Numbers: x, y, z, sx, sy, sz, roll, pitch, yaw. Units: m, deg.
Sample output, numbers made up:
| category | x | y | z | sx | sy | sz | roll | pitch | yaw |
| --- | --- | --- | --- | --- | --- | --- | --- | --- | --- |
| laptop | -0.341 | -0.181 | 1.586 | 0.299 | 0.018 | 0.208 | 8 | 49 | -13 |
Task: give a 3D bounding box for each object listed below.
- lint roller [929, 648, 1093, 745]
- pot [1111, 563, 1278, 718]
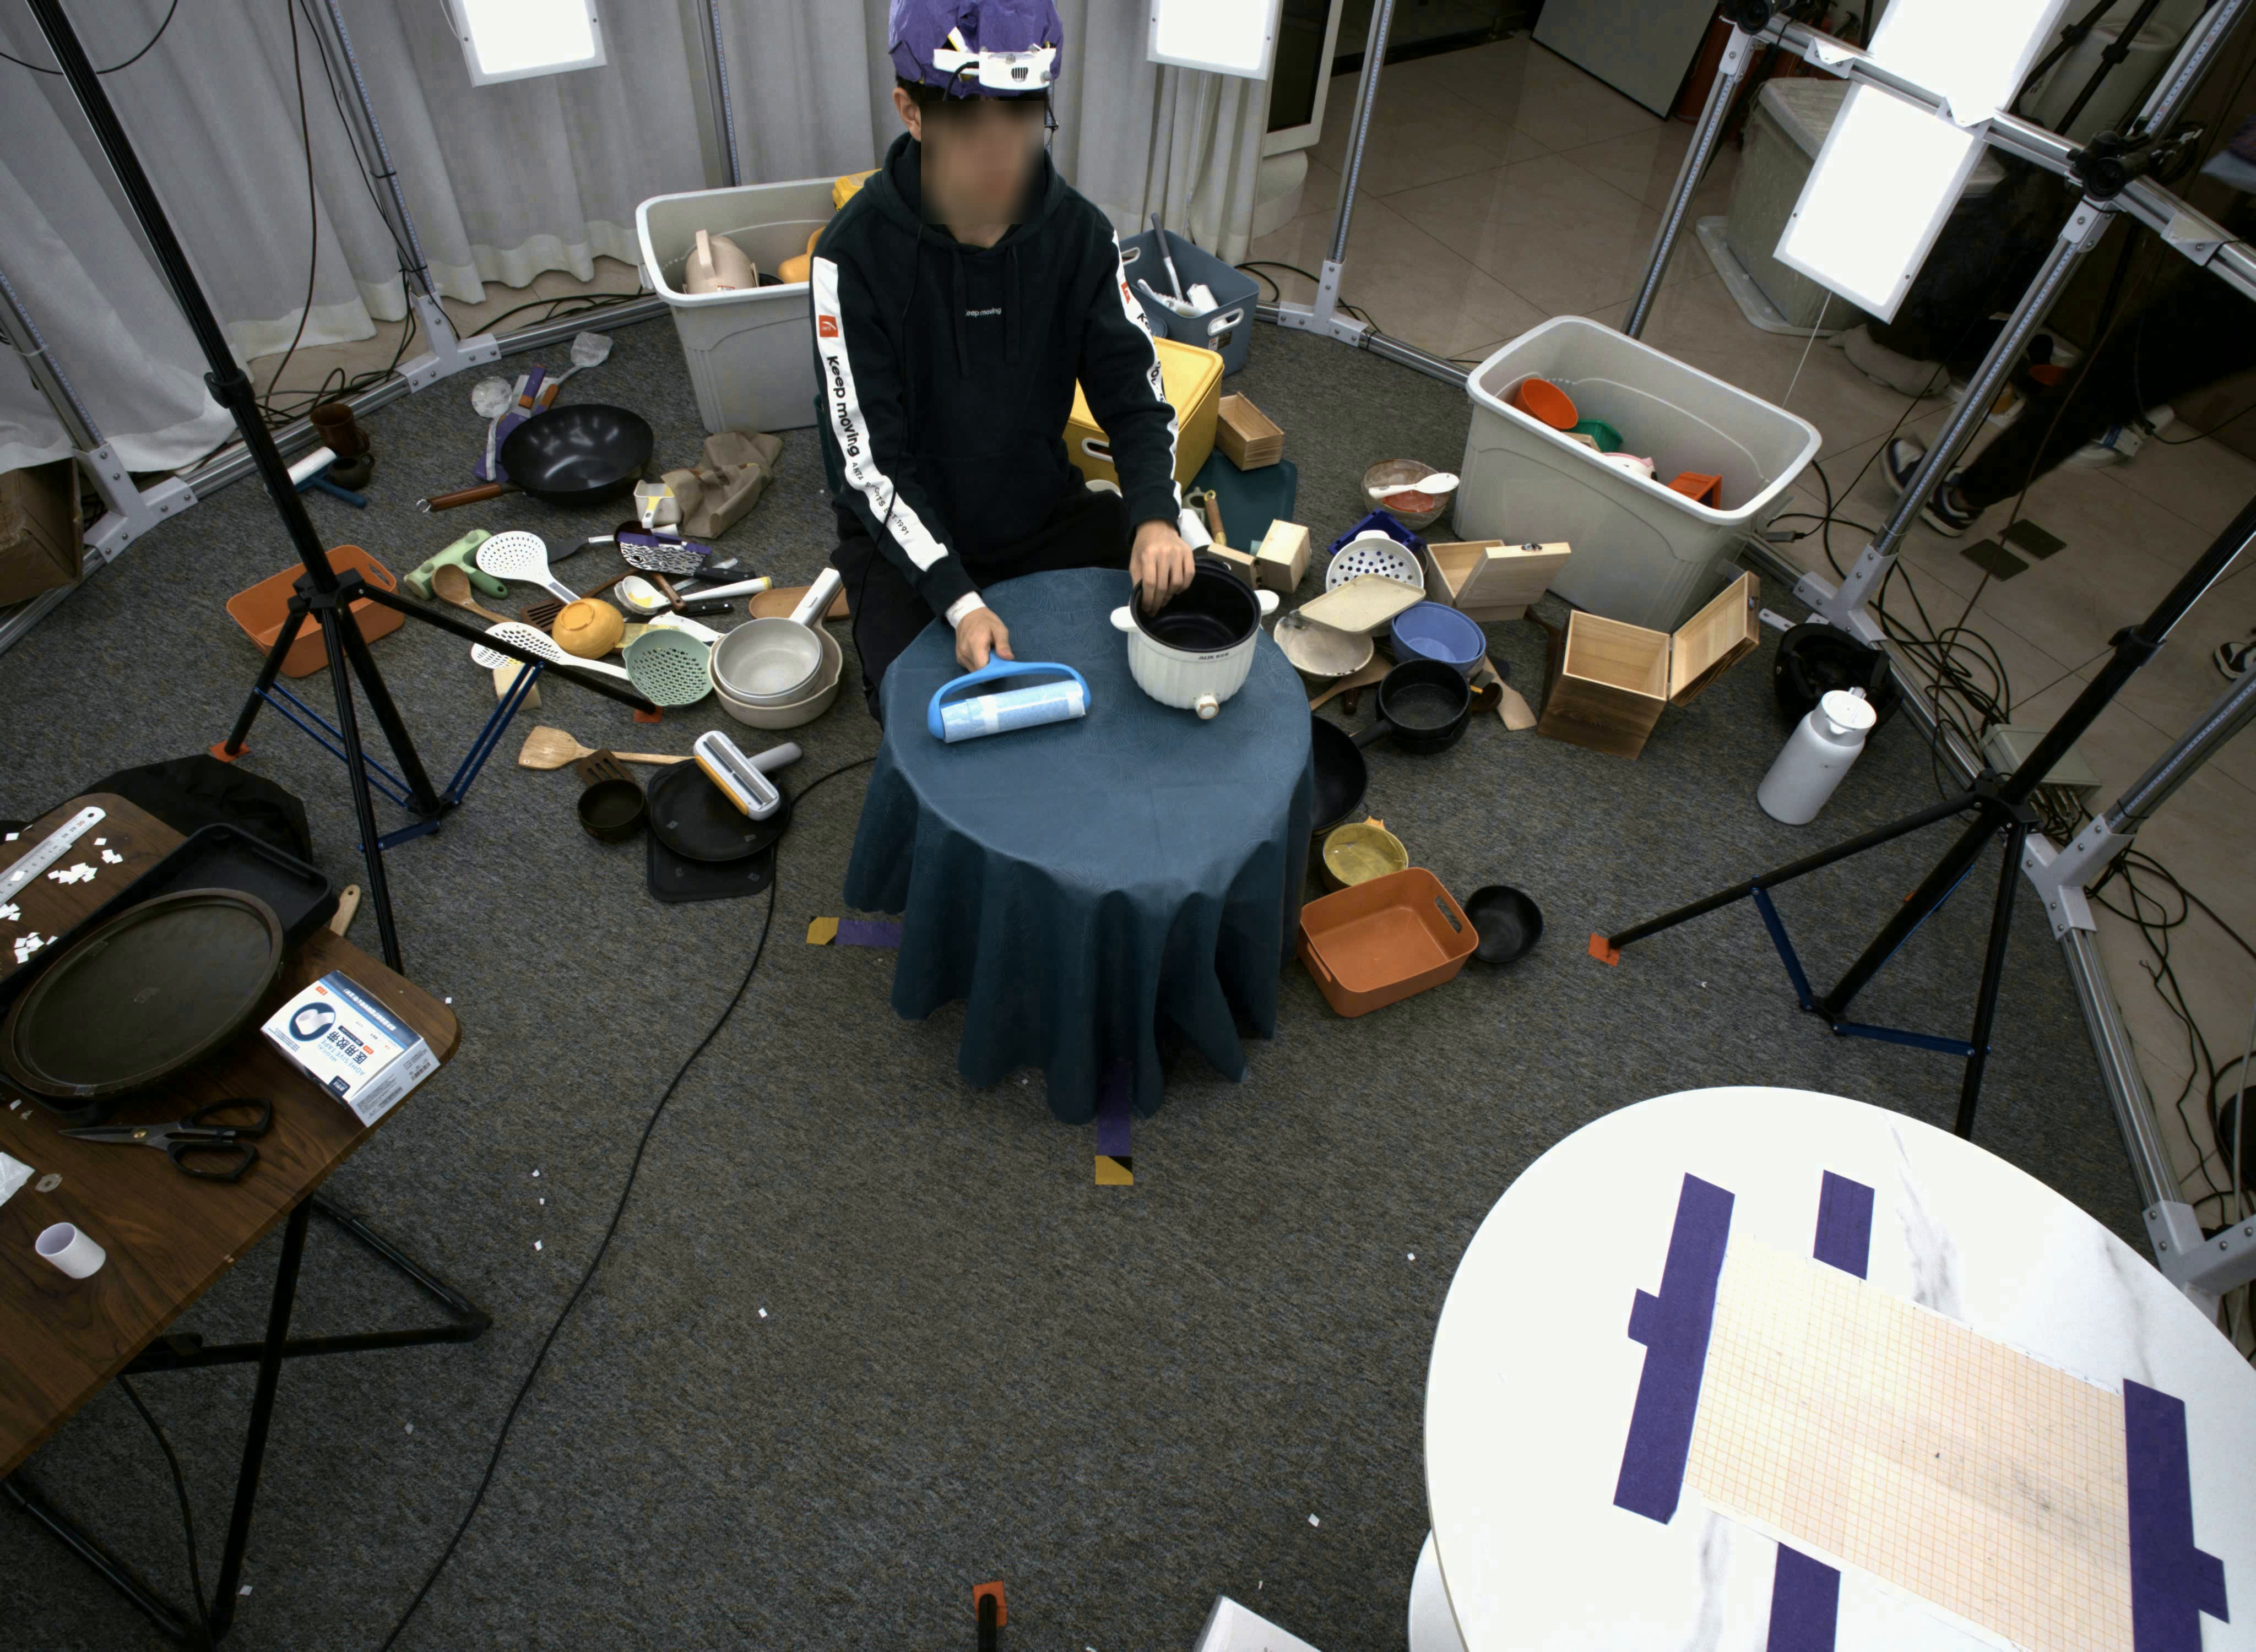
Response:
| category | x | y | z | sx | sy | sz | roll | pitch | yaw |
| --- | --- | --- | --- | --- | --- | --- | --- | --- | --- |
| lint roller | -0.179 | -0.202 | 1.795 | 0.229 | 0.066 | 0.184 | -15 | 53 | -14 |
| pot | 0.092 | -0.257 | 1.807 | 0.240 | 0.139 | 0.195 | -11 | 48 | -11 |
